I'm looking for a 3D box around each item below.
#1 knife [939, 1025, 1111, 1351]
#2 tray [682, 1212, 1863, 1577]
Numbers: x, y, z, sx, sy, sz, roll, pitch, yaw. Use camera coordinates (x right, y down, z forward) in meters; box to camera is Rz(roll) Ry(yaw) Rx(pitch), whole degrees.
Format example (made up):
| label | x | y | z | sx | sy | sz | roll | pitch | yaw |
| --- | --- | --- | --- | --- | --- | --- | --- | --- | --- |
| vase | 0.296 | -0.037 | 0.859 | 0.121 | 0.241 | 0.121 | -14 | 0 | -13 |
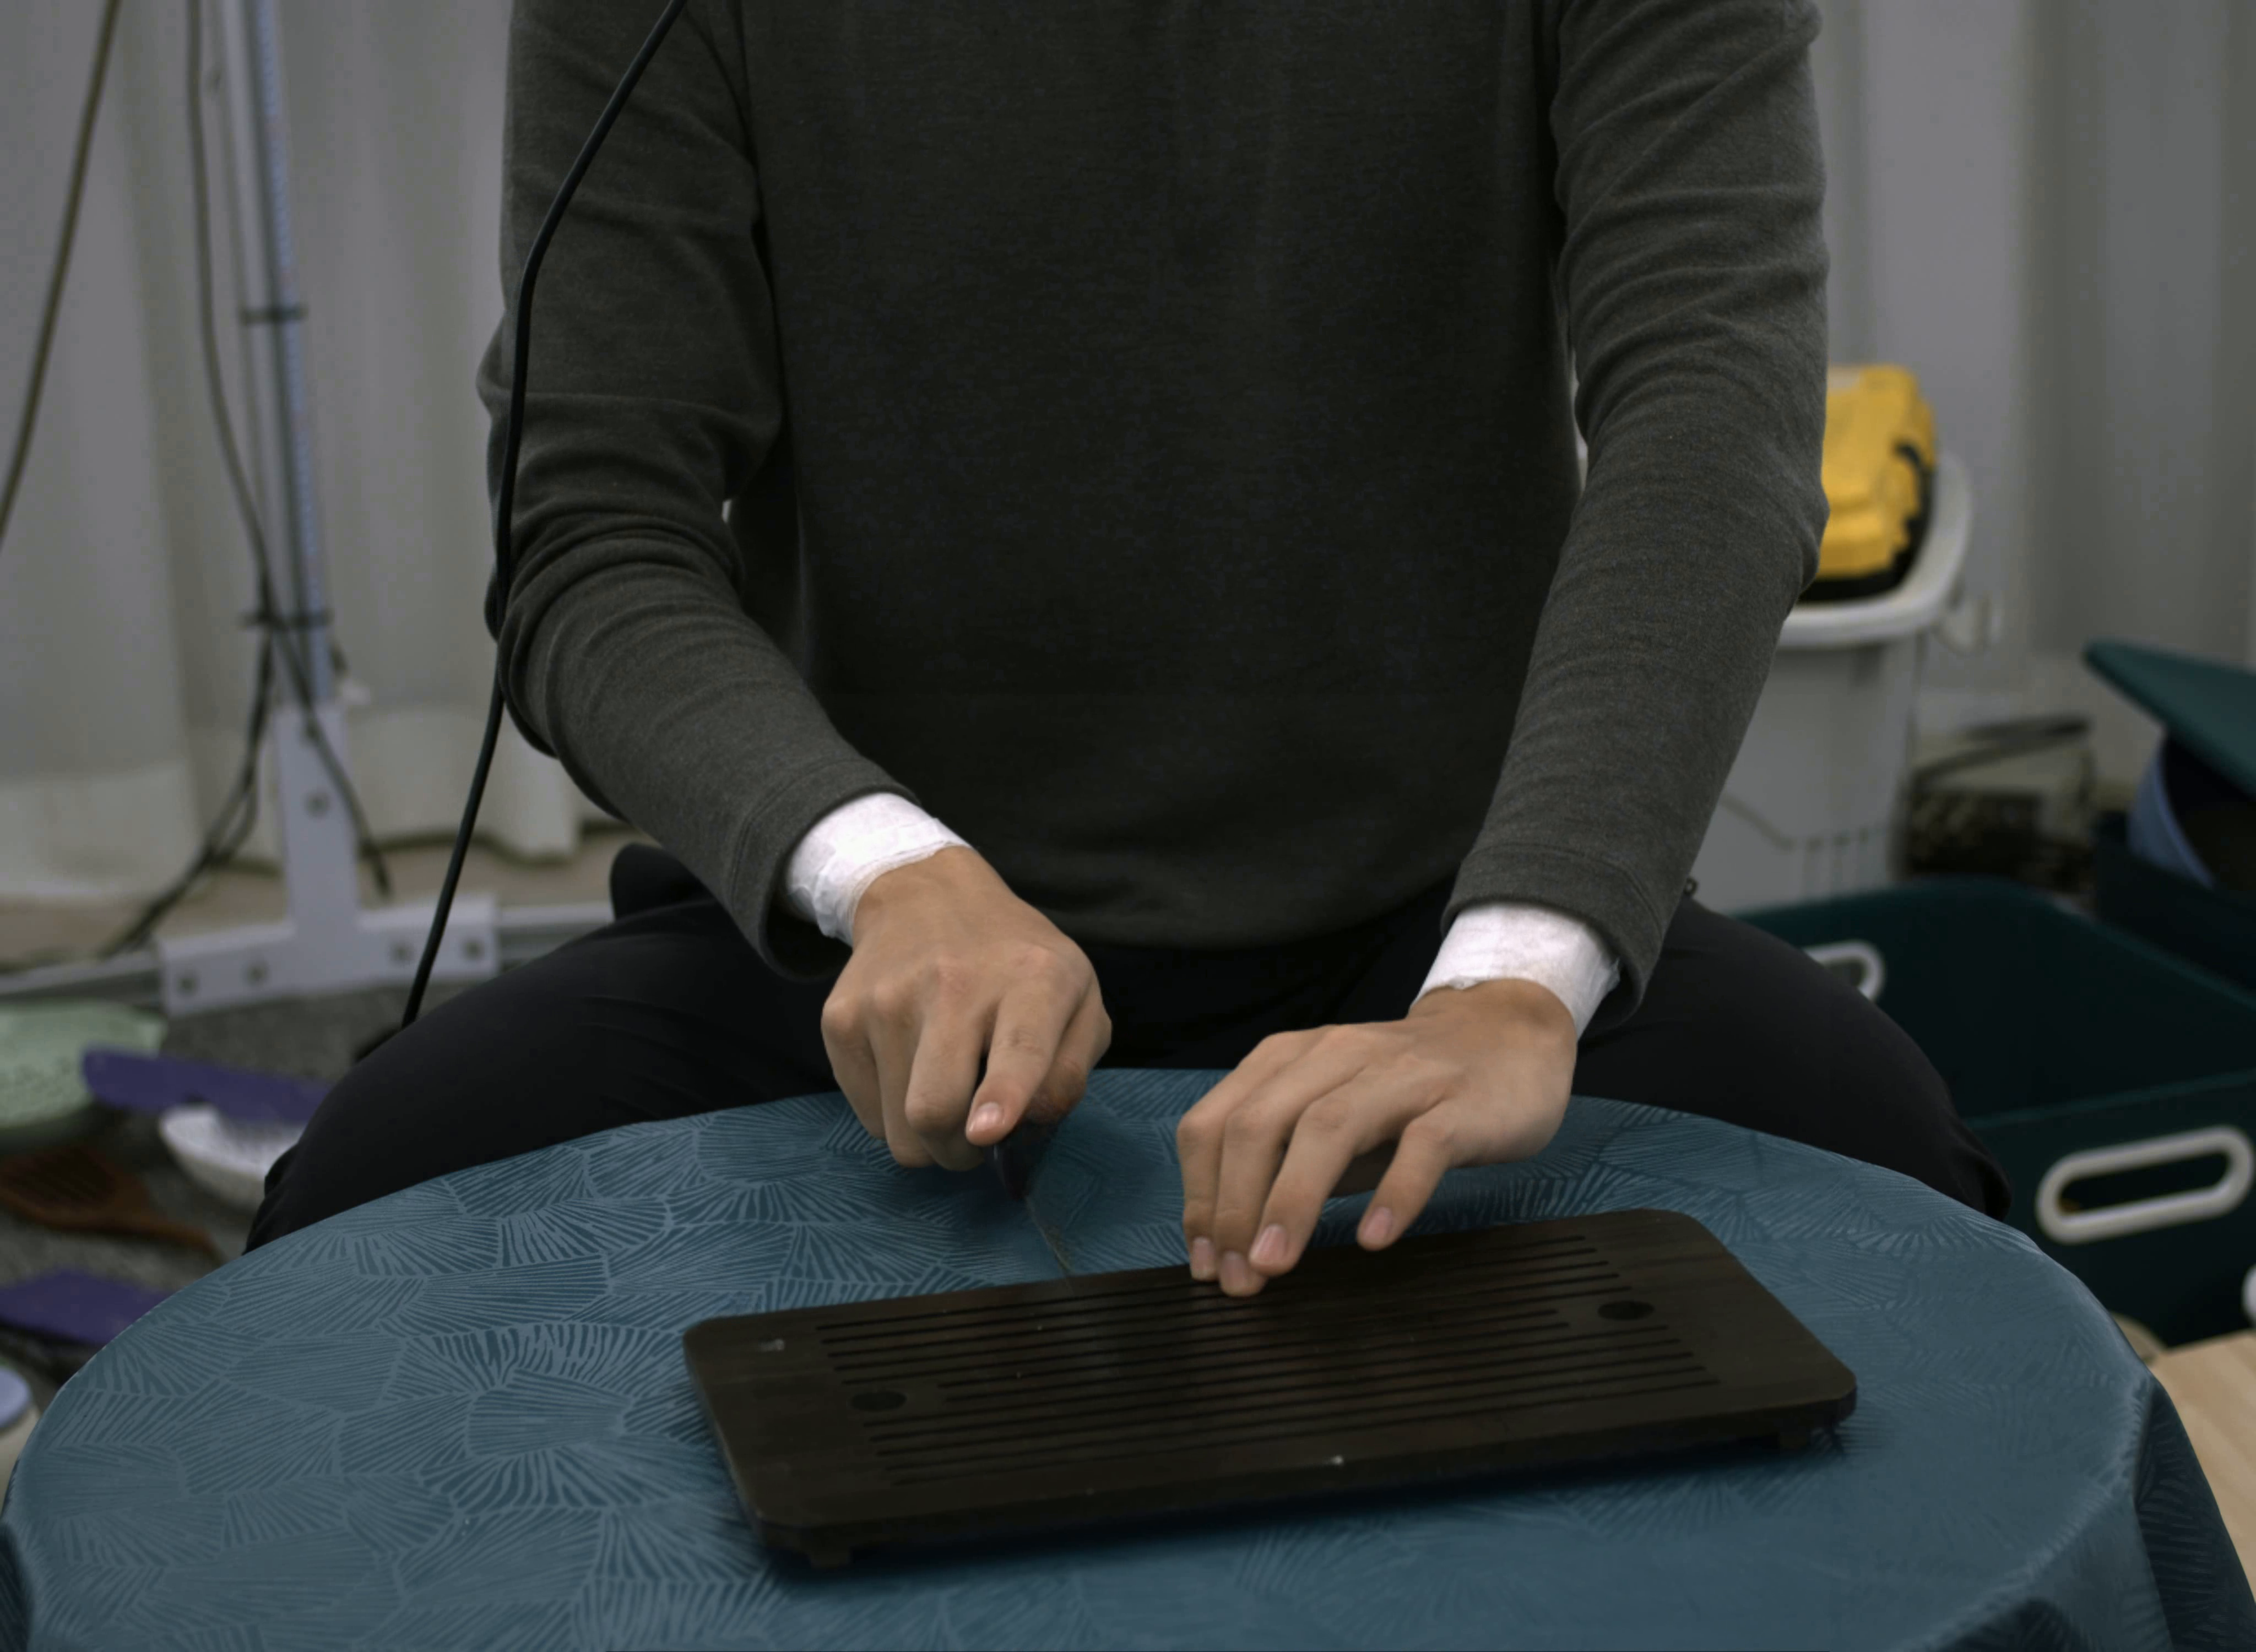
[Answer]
| label | x | y | z | sx | sy | sz | roll | pitch | yaw |
| --- | --- | --- | --- | --- | --- | --- | --- | --- | --- |
| knife | -0.030 | 0.106 | 1.635 | 0.016 | 0.024 | 0.240 | -4 | 19 | -11 |
| tray | 0.036 | 0.156 | 1.519 | 0.304 | 0.018 | 0.171 | -6 | 14 | -11 |
